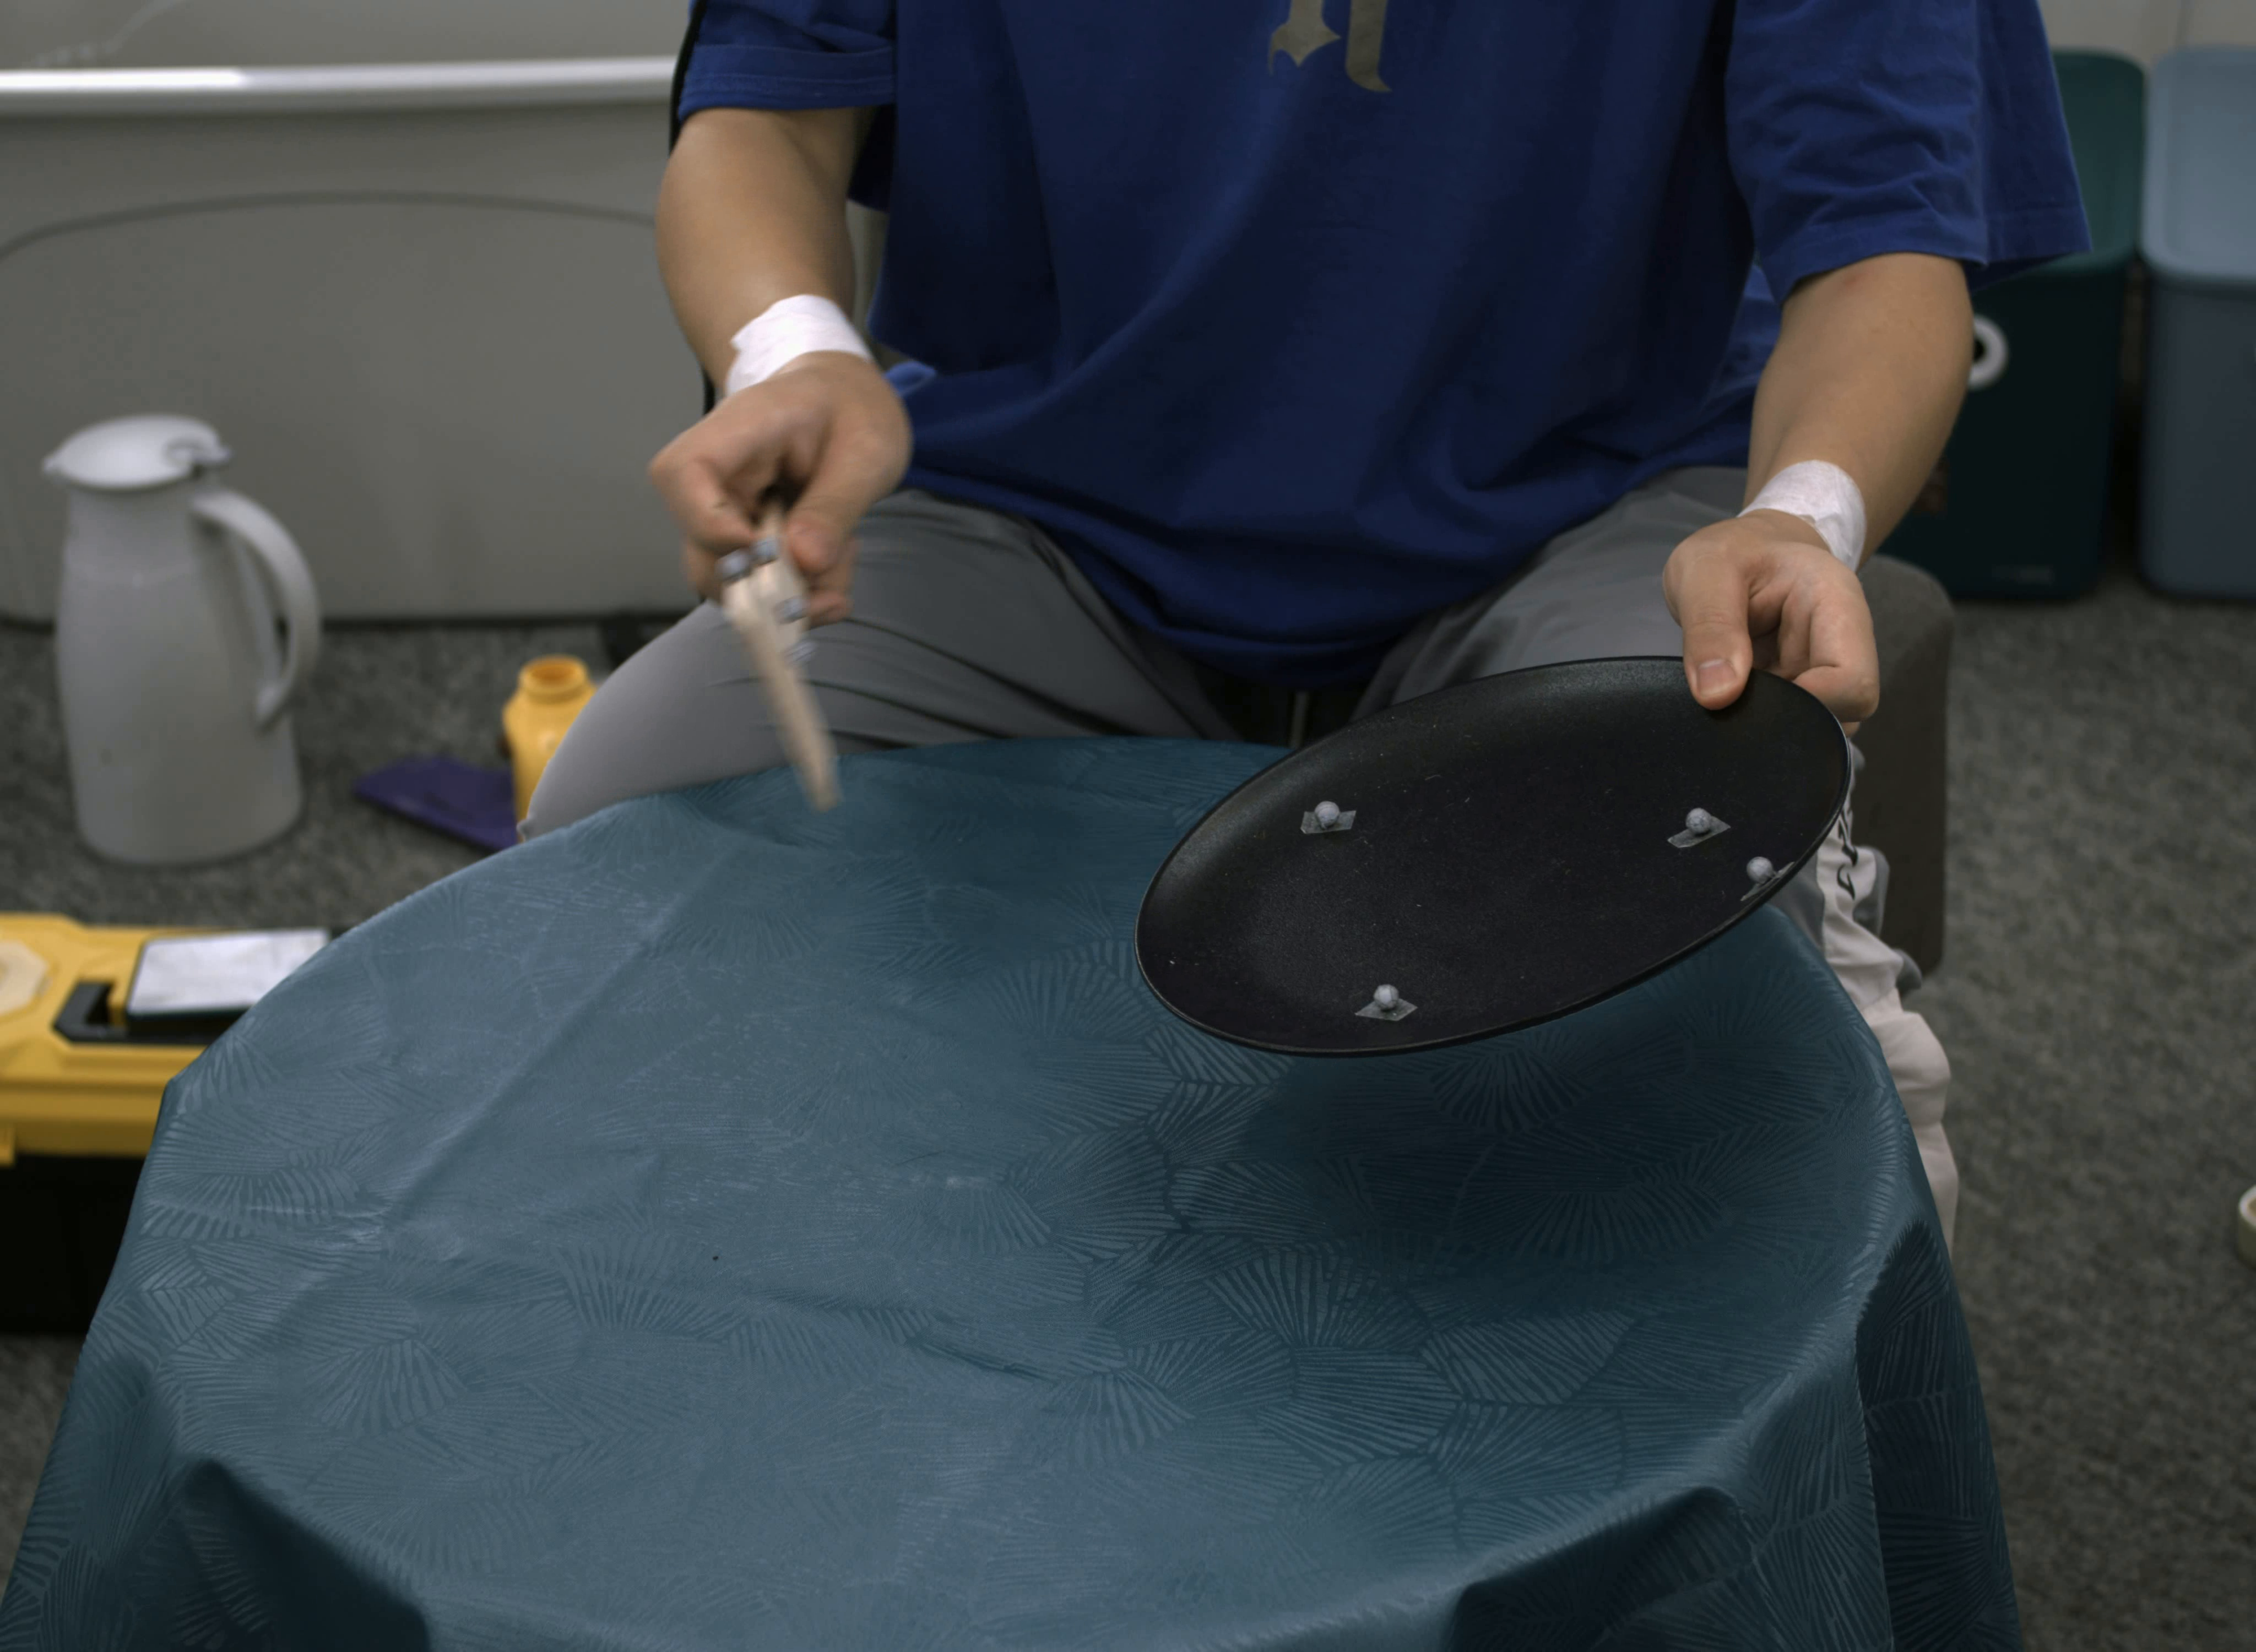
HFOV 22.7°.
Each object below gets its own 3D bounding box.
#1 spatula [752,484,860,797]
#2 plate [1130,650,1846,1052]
[{"bbox_3d":[-0.110,-0.077,1.910,0.010,0.072,0.295,-23,15,3],"label":"spatula"},{"bbox_3d":[0.119,0.012,1.842,0.243,0.023,0.248,-15,26,8],"label":"plate"}]
